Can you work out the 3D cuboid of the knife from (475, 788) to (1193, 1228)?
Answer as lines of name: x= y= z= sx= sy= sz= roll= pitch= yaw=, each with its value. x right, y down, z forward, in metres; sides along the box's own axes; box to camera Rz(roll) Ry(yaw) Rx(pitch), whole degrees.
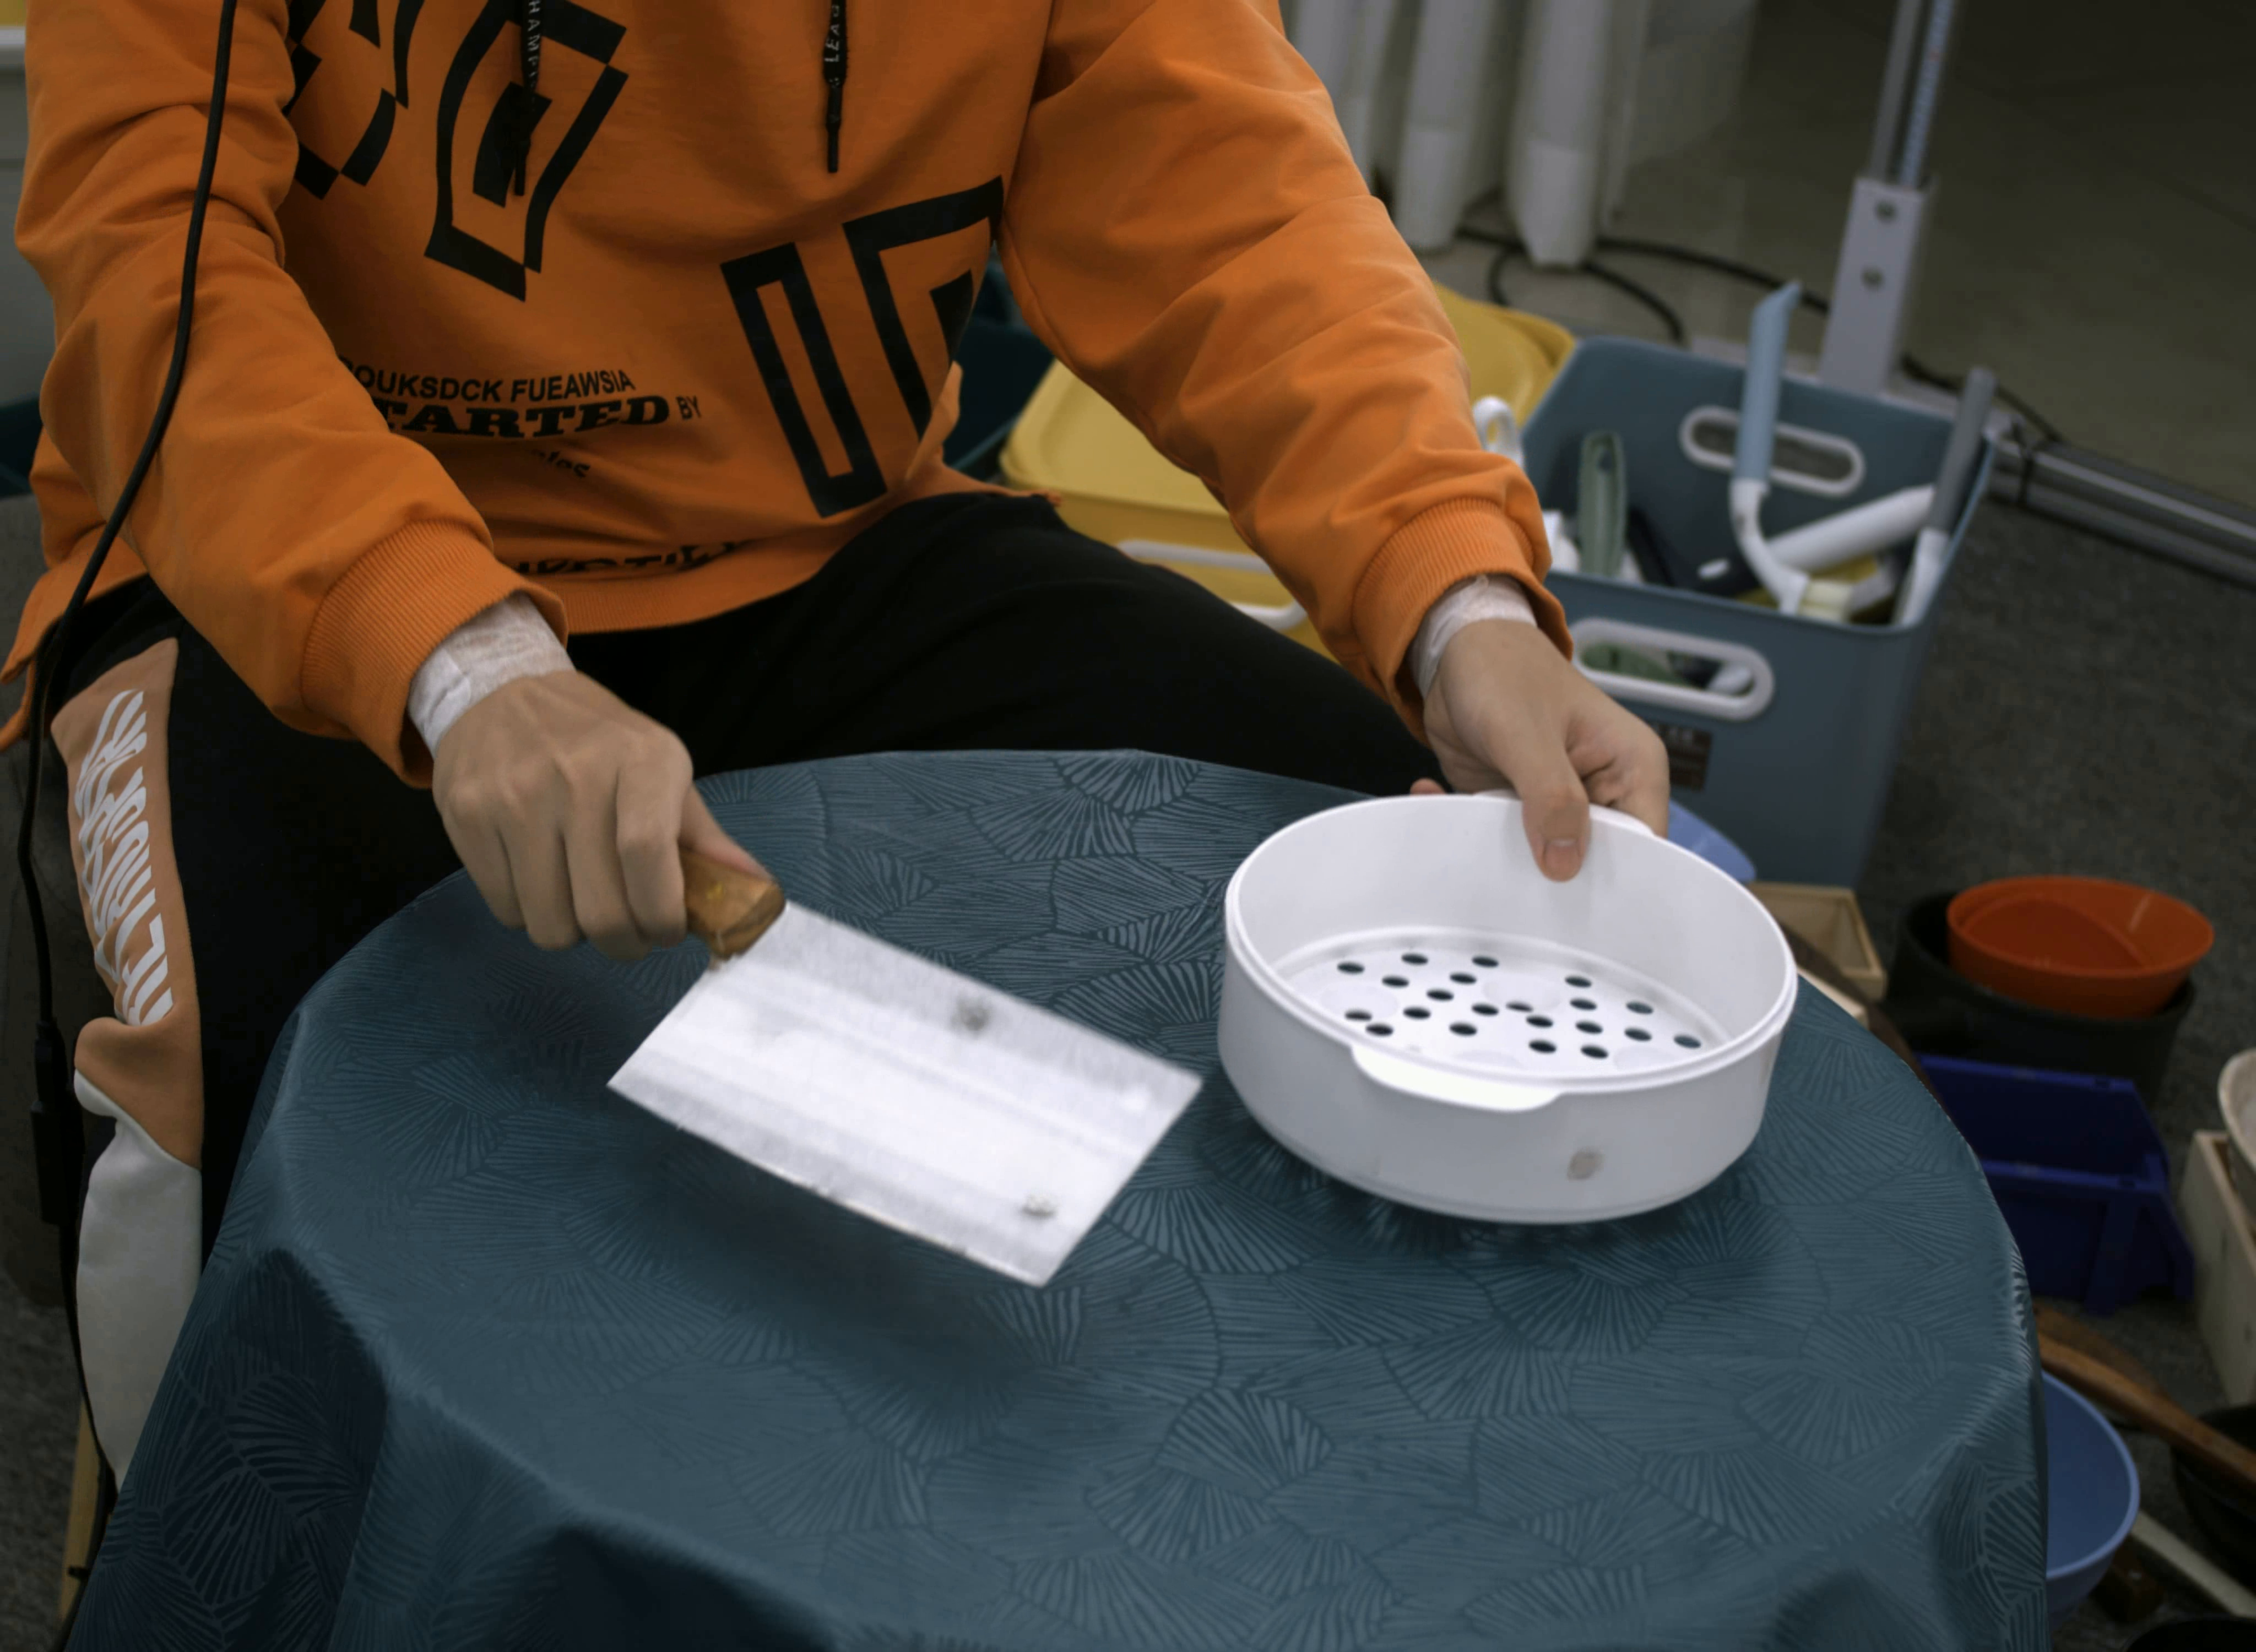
knife: x=-0.116 y=0.061 z=1.753 sx=0.308 sy=0.021 sz=0.093 roll=21 pitch=61 yaw=35

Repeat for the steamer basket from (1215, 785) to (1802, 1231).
steamer basket: x=0.130 y=0.065 z=1.848 sx=0.202 sy=0.069 sz=0.231 roll=12 pitch=30 yaw=10
